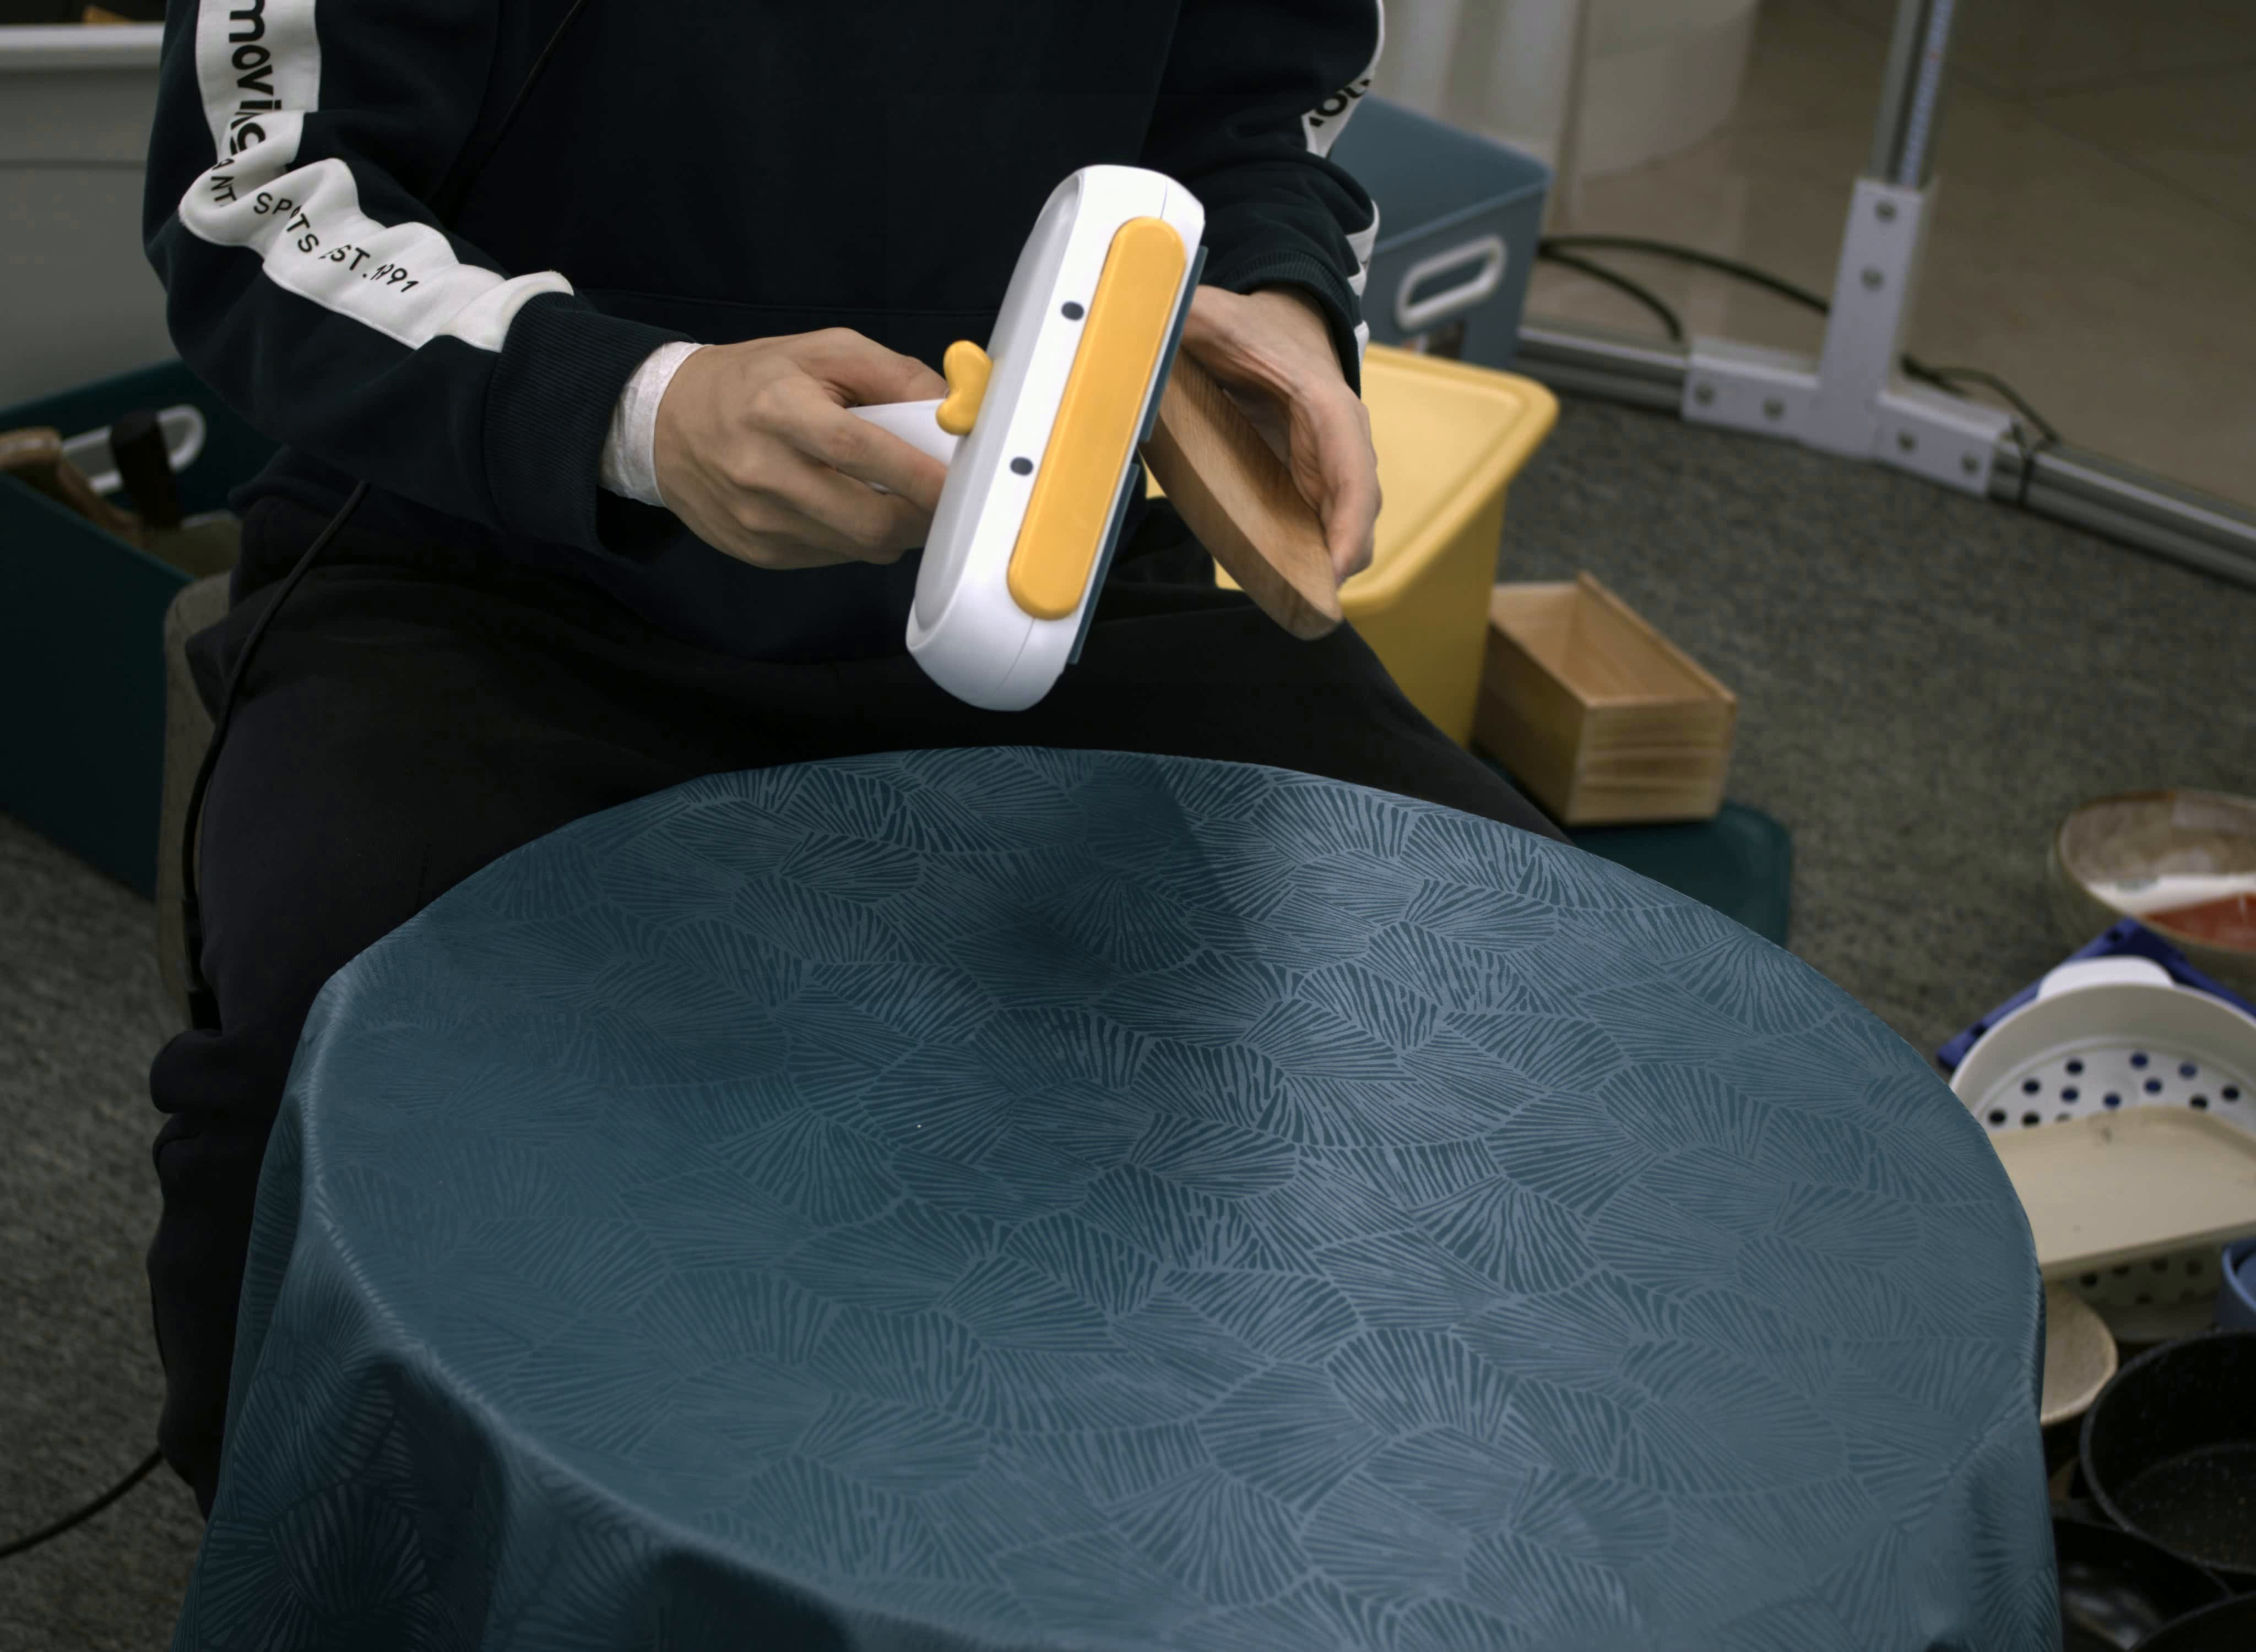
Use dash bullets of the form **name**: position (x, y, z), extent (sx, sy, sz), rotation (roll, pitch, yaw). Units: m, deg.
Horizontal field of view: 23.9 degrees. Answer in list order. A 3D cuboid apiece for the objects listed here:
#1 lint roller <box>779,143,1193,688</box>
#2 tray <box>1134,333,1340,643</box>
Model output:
- **lint roller**: position (-0.056, -0.131, 1.841), extent (0.073, 0.194, 0.193), rotation (19, -19, -24)
- **tray**: position (0.035, -0.123, 1.909), extent (0.101, 0.020, 0.232), rotation (48, 11, -12)
